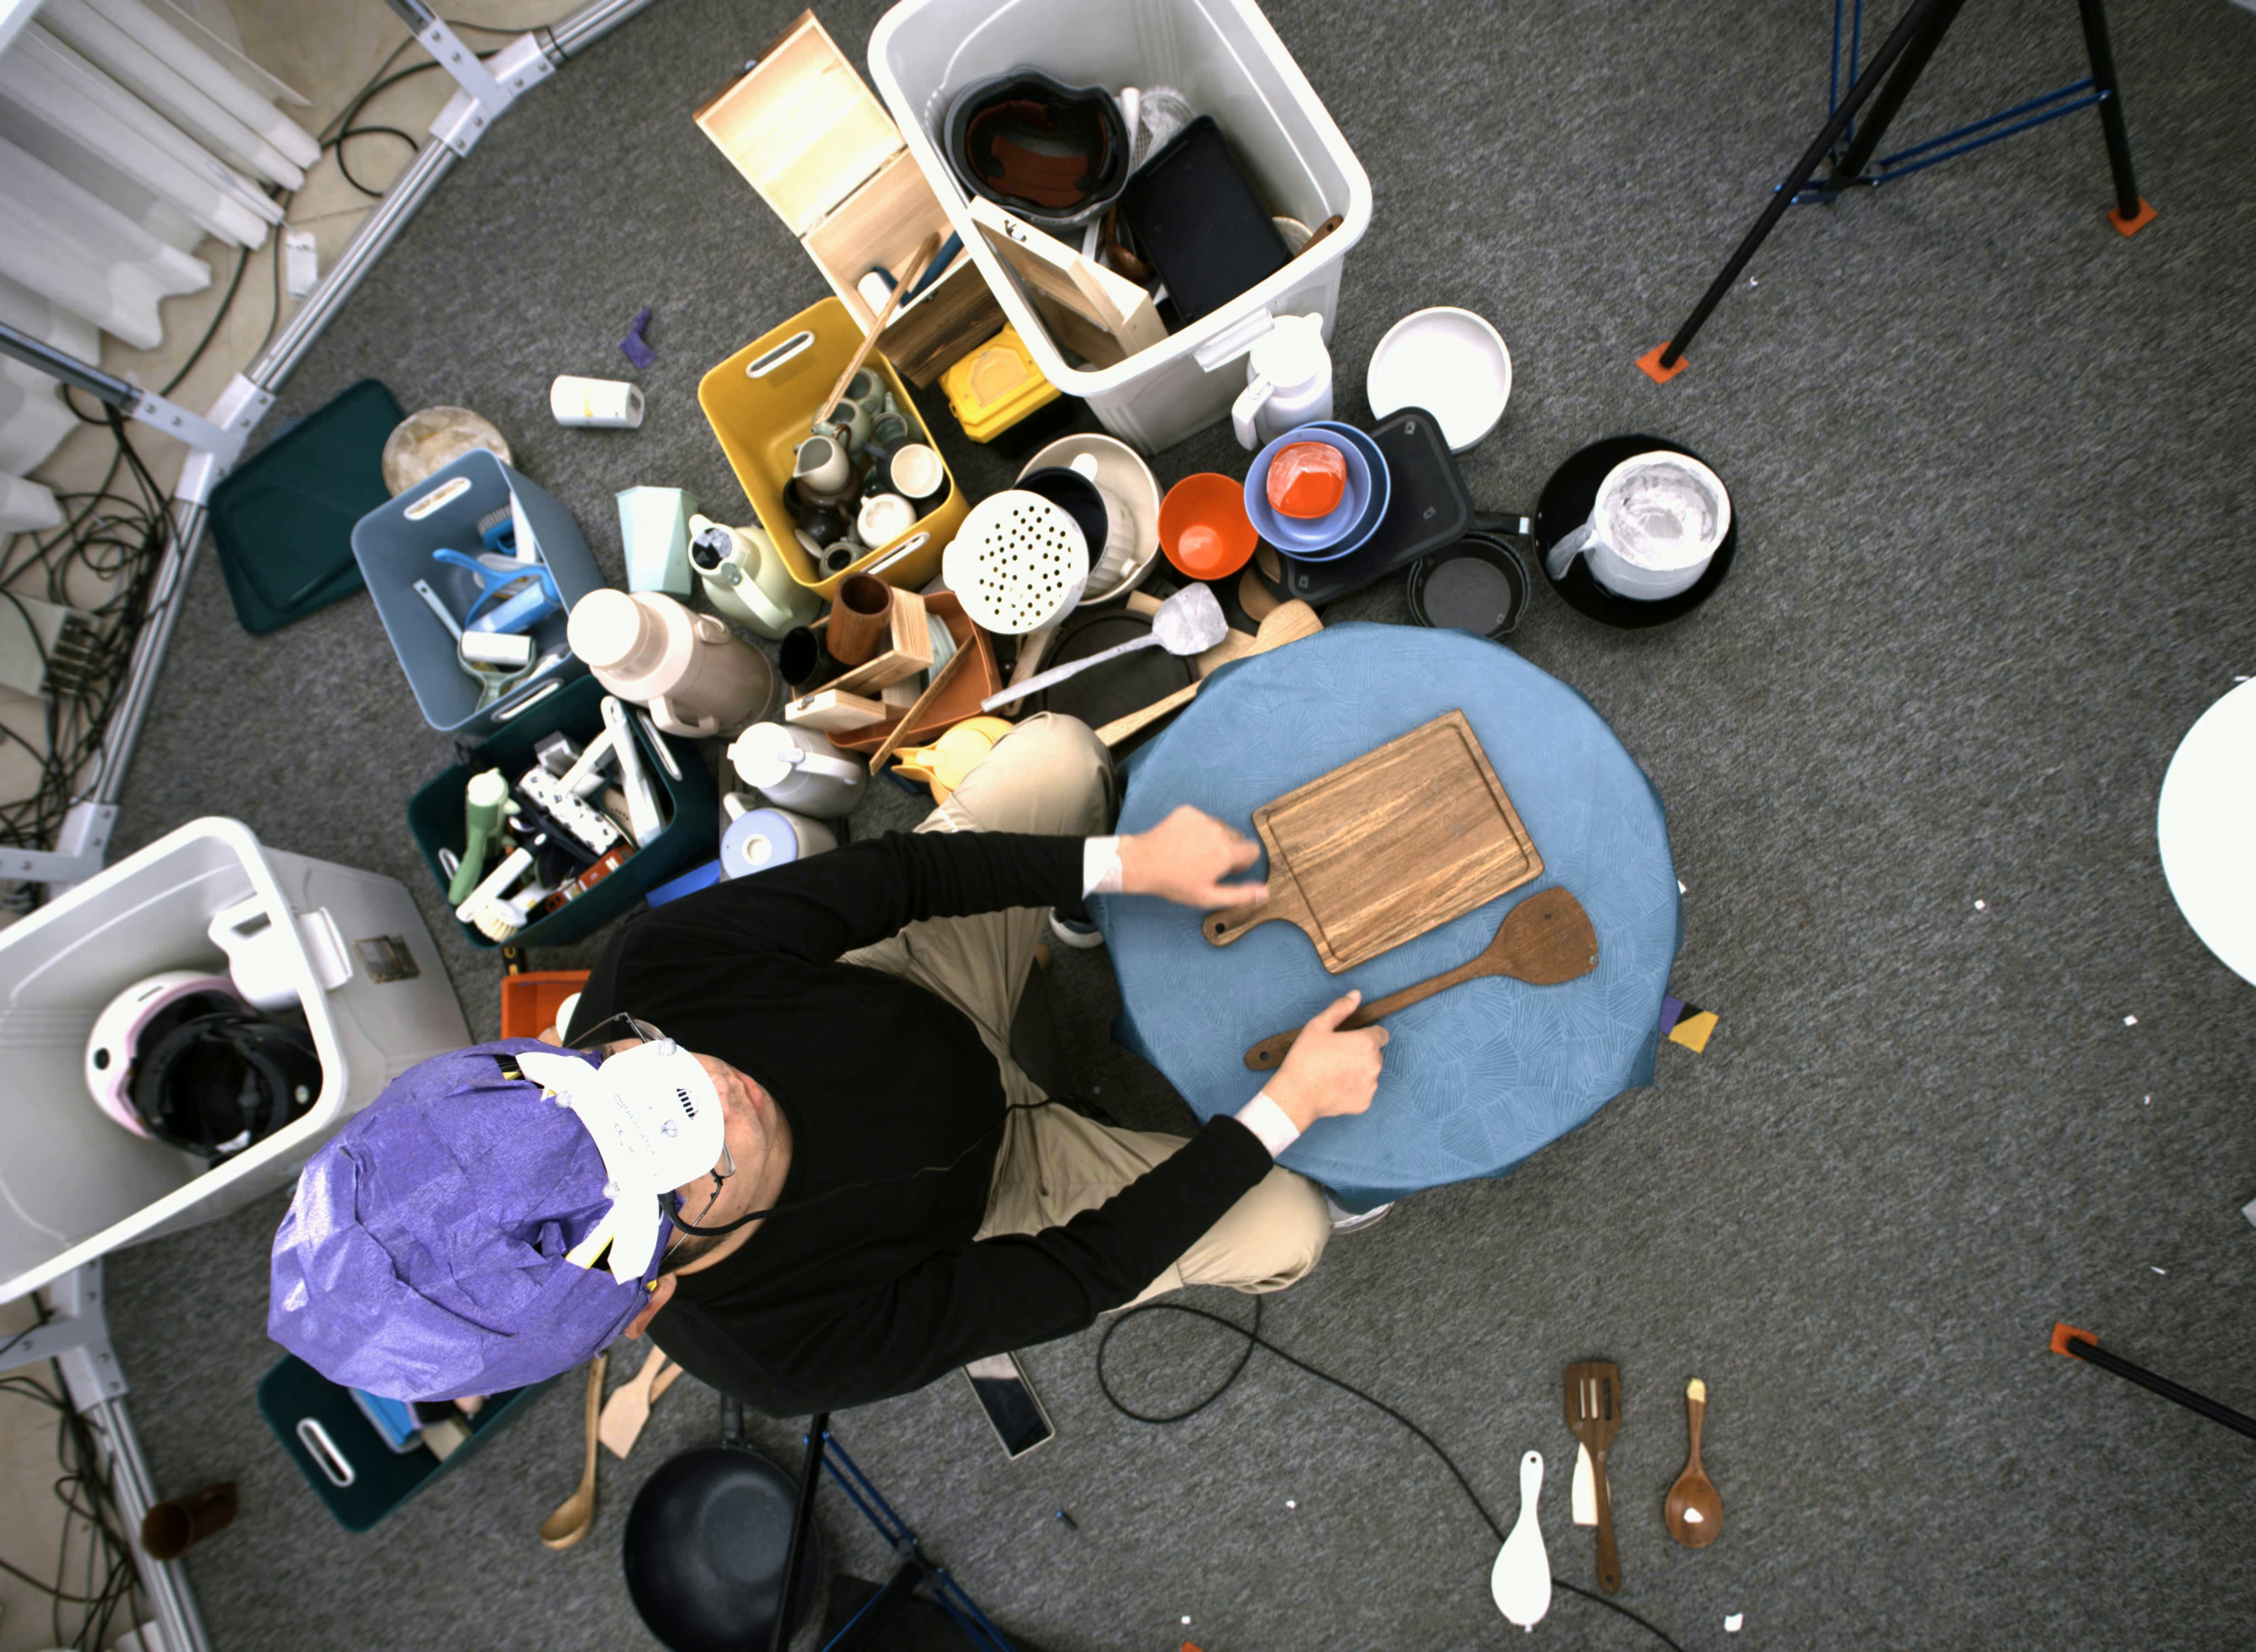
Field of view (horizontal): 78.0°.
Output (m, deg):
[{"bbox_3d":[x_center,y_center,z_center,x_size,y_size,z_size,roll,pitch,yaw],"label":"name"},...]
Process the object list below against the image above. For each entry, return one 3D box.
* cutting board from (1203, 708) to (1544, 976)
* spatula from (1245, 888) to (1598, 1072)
[{"bbox_3d":[0.236,0.038,1.458,0.354,0.023,0.200,-28,82,8],"label":"cutting board"},{"bbox_3d":[0.300,0.174,1.441,0.388,0.016,0.095,-24,83,9],"label":"spatula"}]
